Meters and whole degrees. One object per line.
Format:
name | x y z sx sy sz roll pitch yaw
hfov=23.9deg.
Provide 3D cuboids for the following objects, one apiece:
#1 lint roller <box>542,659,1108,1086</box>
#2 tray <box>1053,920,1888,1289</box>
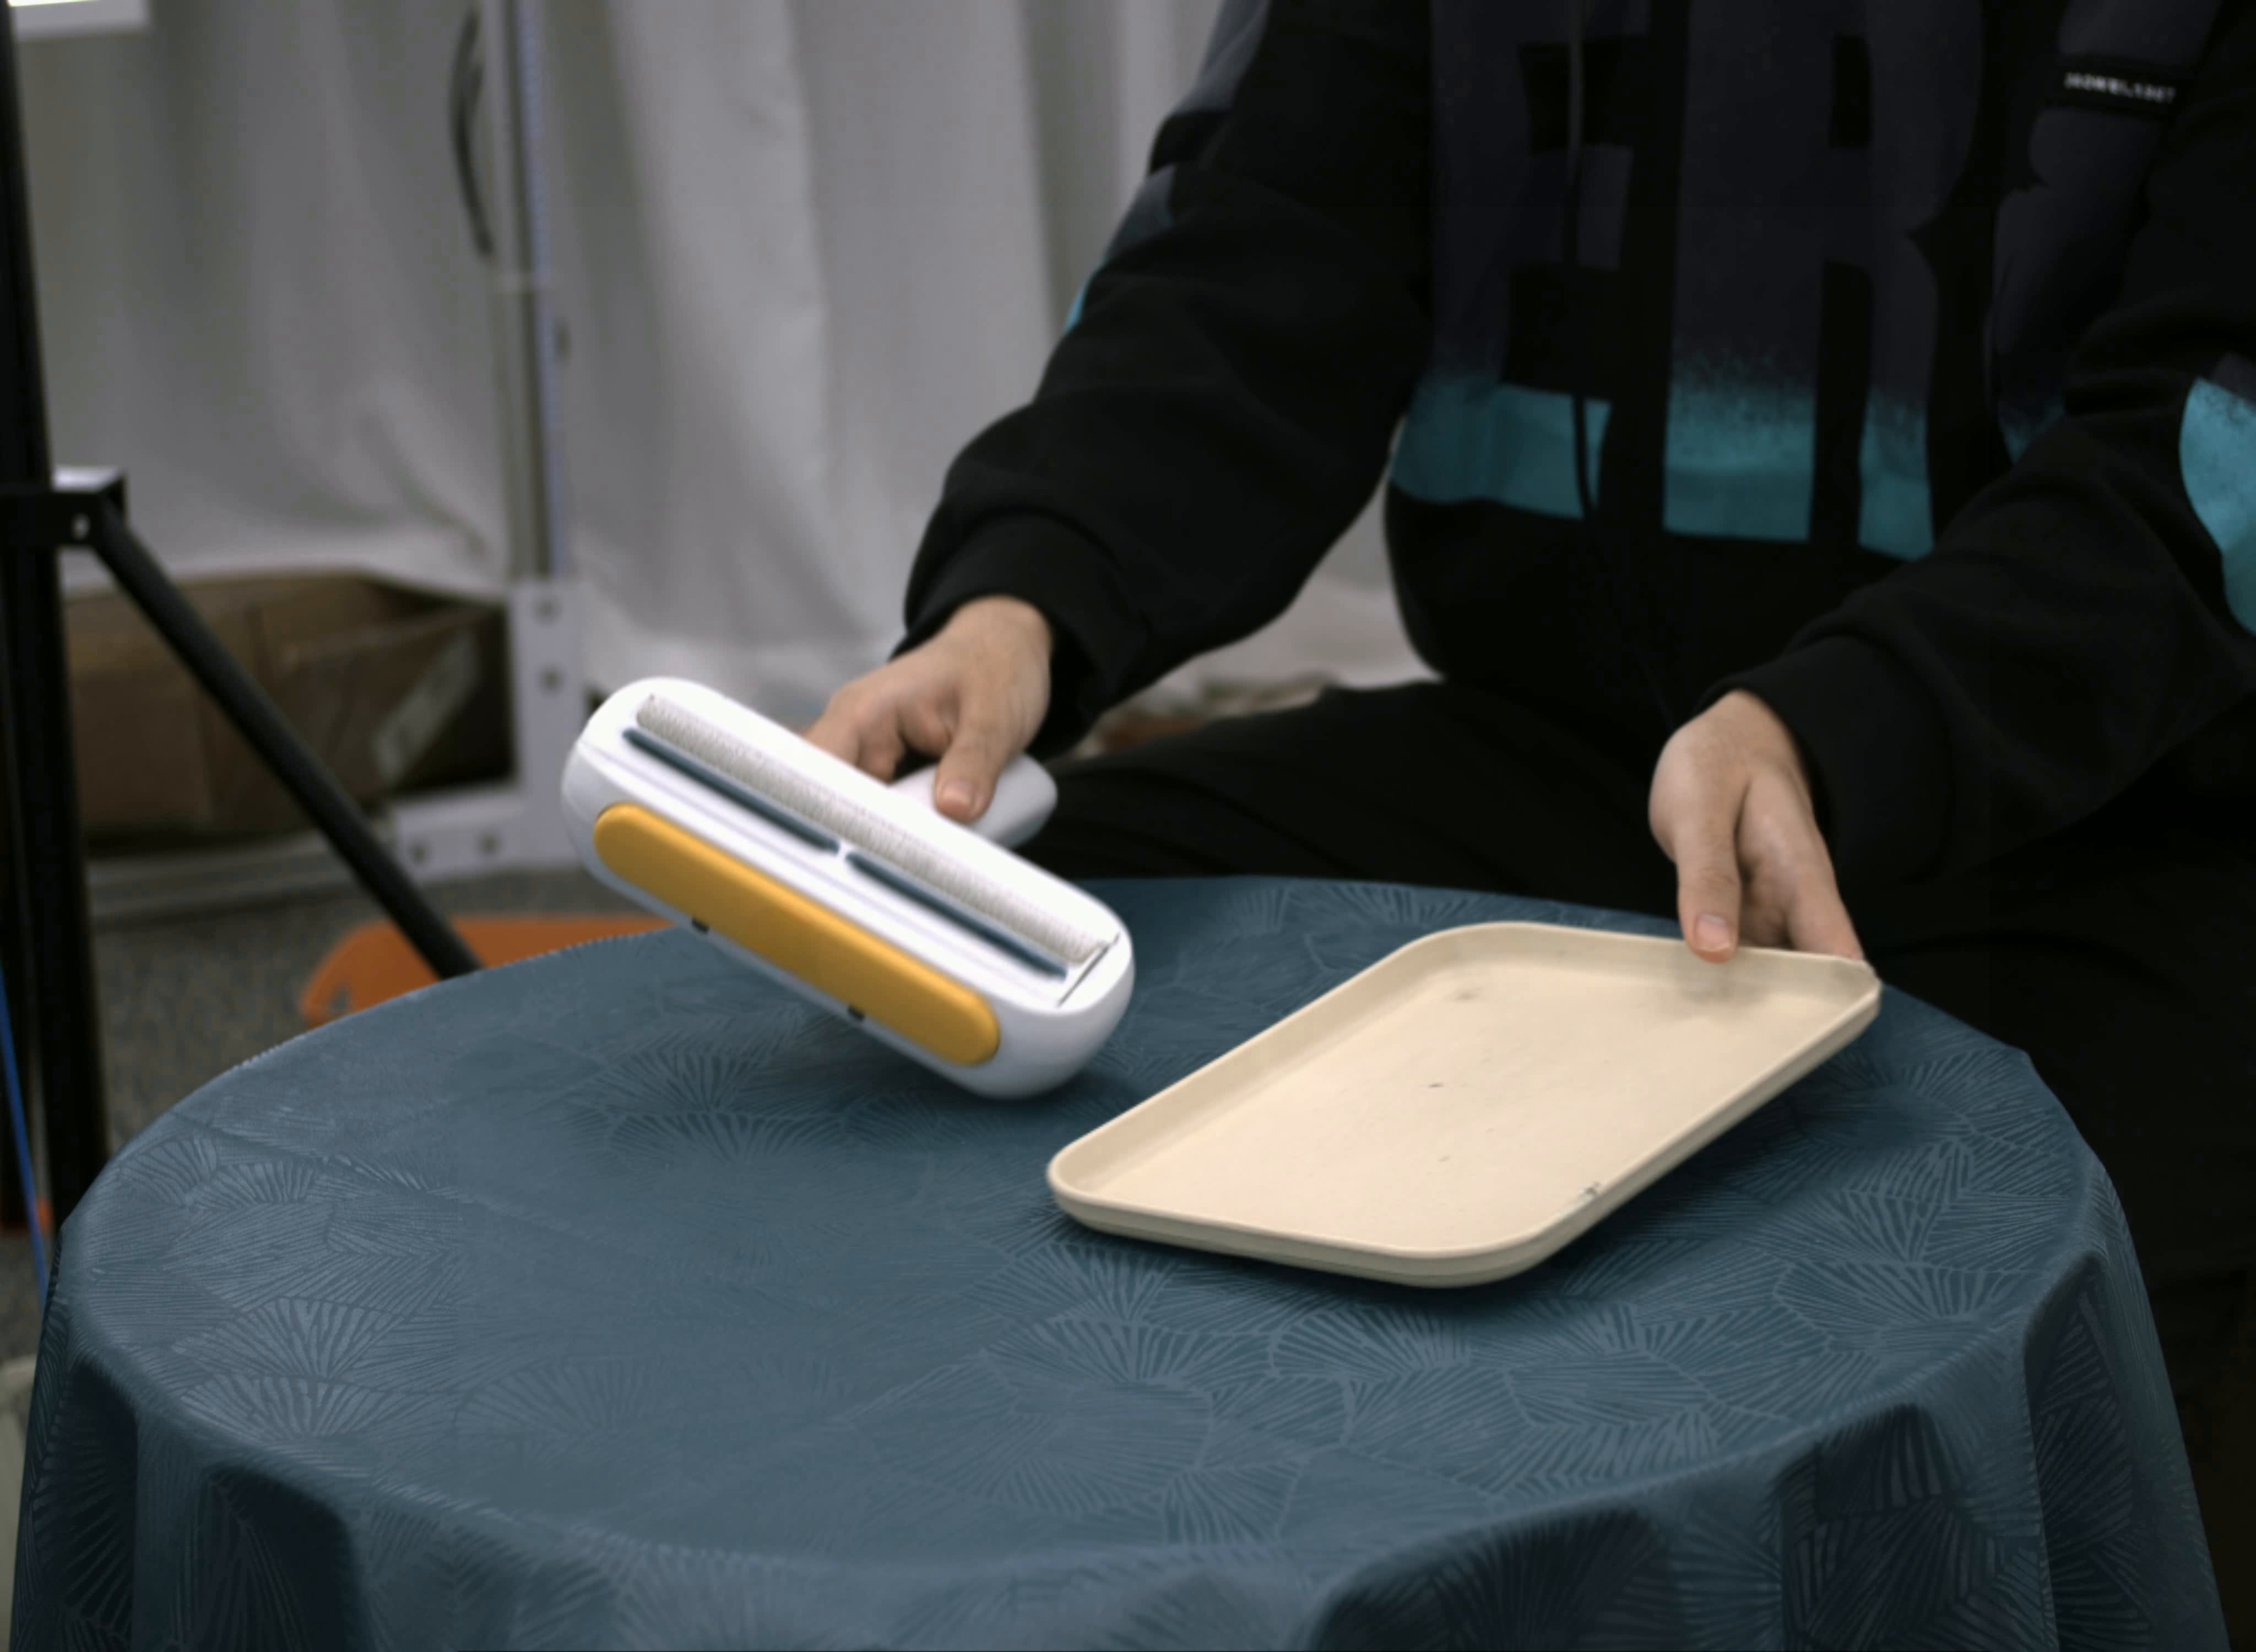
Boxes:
lint roller | -0.070 0.000 1.715 0.195 0.074 0.189 26 32 19
tray | 0.104 0.081 1.565 0.175 0.017 0.235 6 23 39
